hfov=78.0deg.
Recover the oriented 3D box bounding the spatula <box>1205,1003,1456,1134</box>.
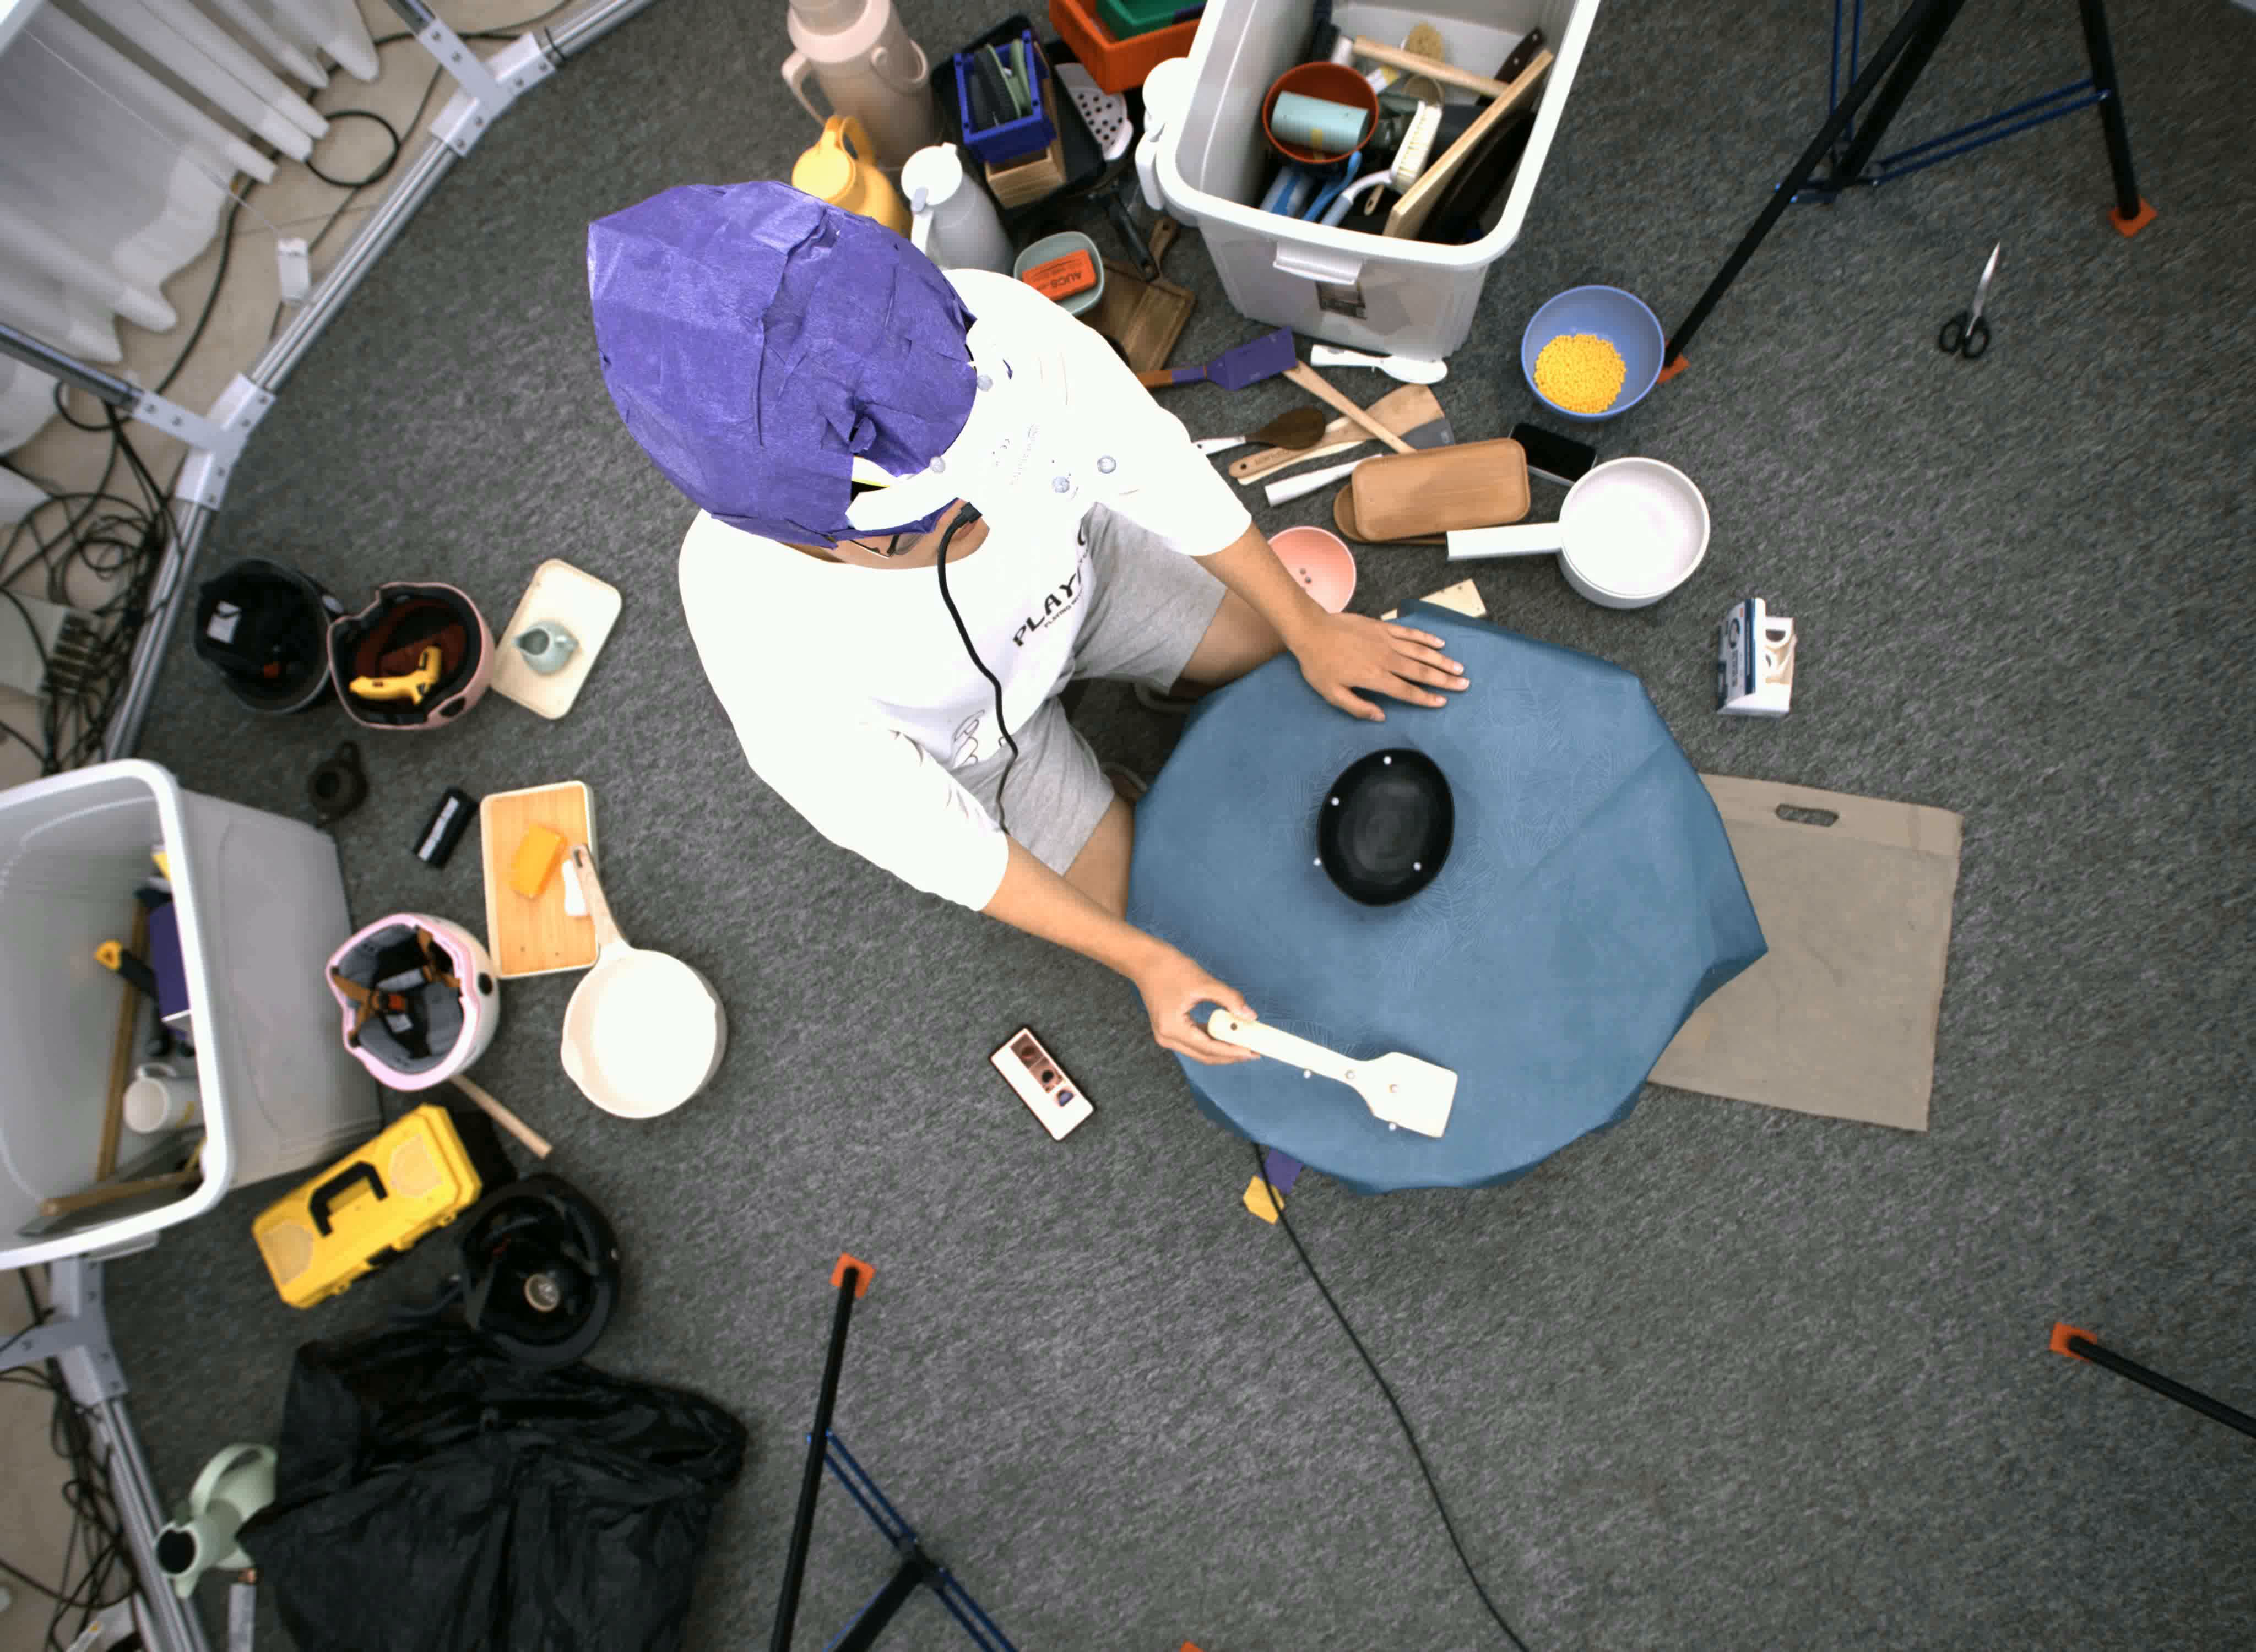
[{"bbox_3d":[0.203,0.234,1.382,0.294,0.011,0.071,22,80,-19],"label":"spatula"}]

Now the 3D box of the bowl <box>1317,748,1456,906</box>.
[{"bbox_3d":[0.268,0.000,1.432,0.137,0.067,0.170,18,88,12],"label":"bowl"}]
